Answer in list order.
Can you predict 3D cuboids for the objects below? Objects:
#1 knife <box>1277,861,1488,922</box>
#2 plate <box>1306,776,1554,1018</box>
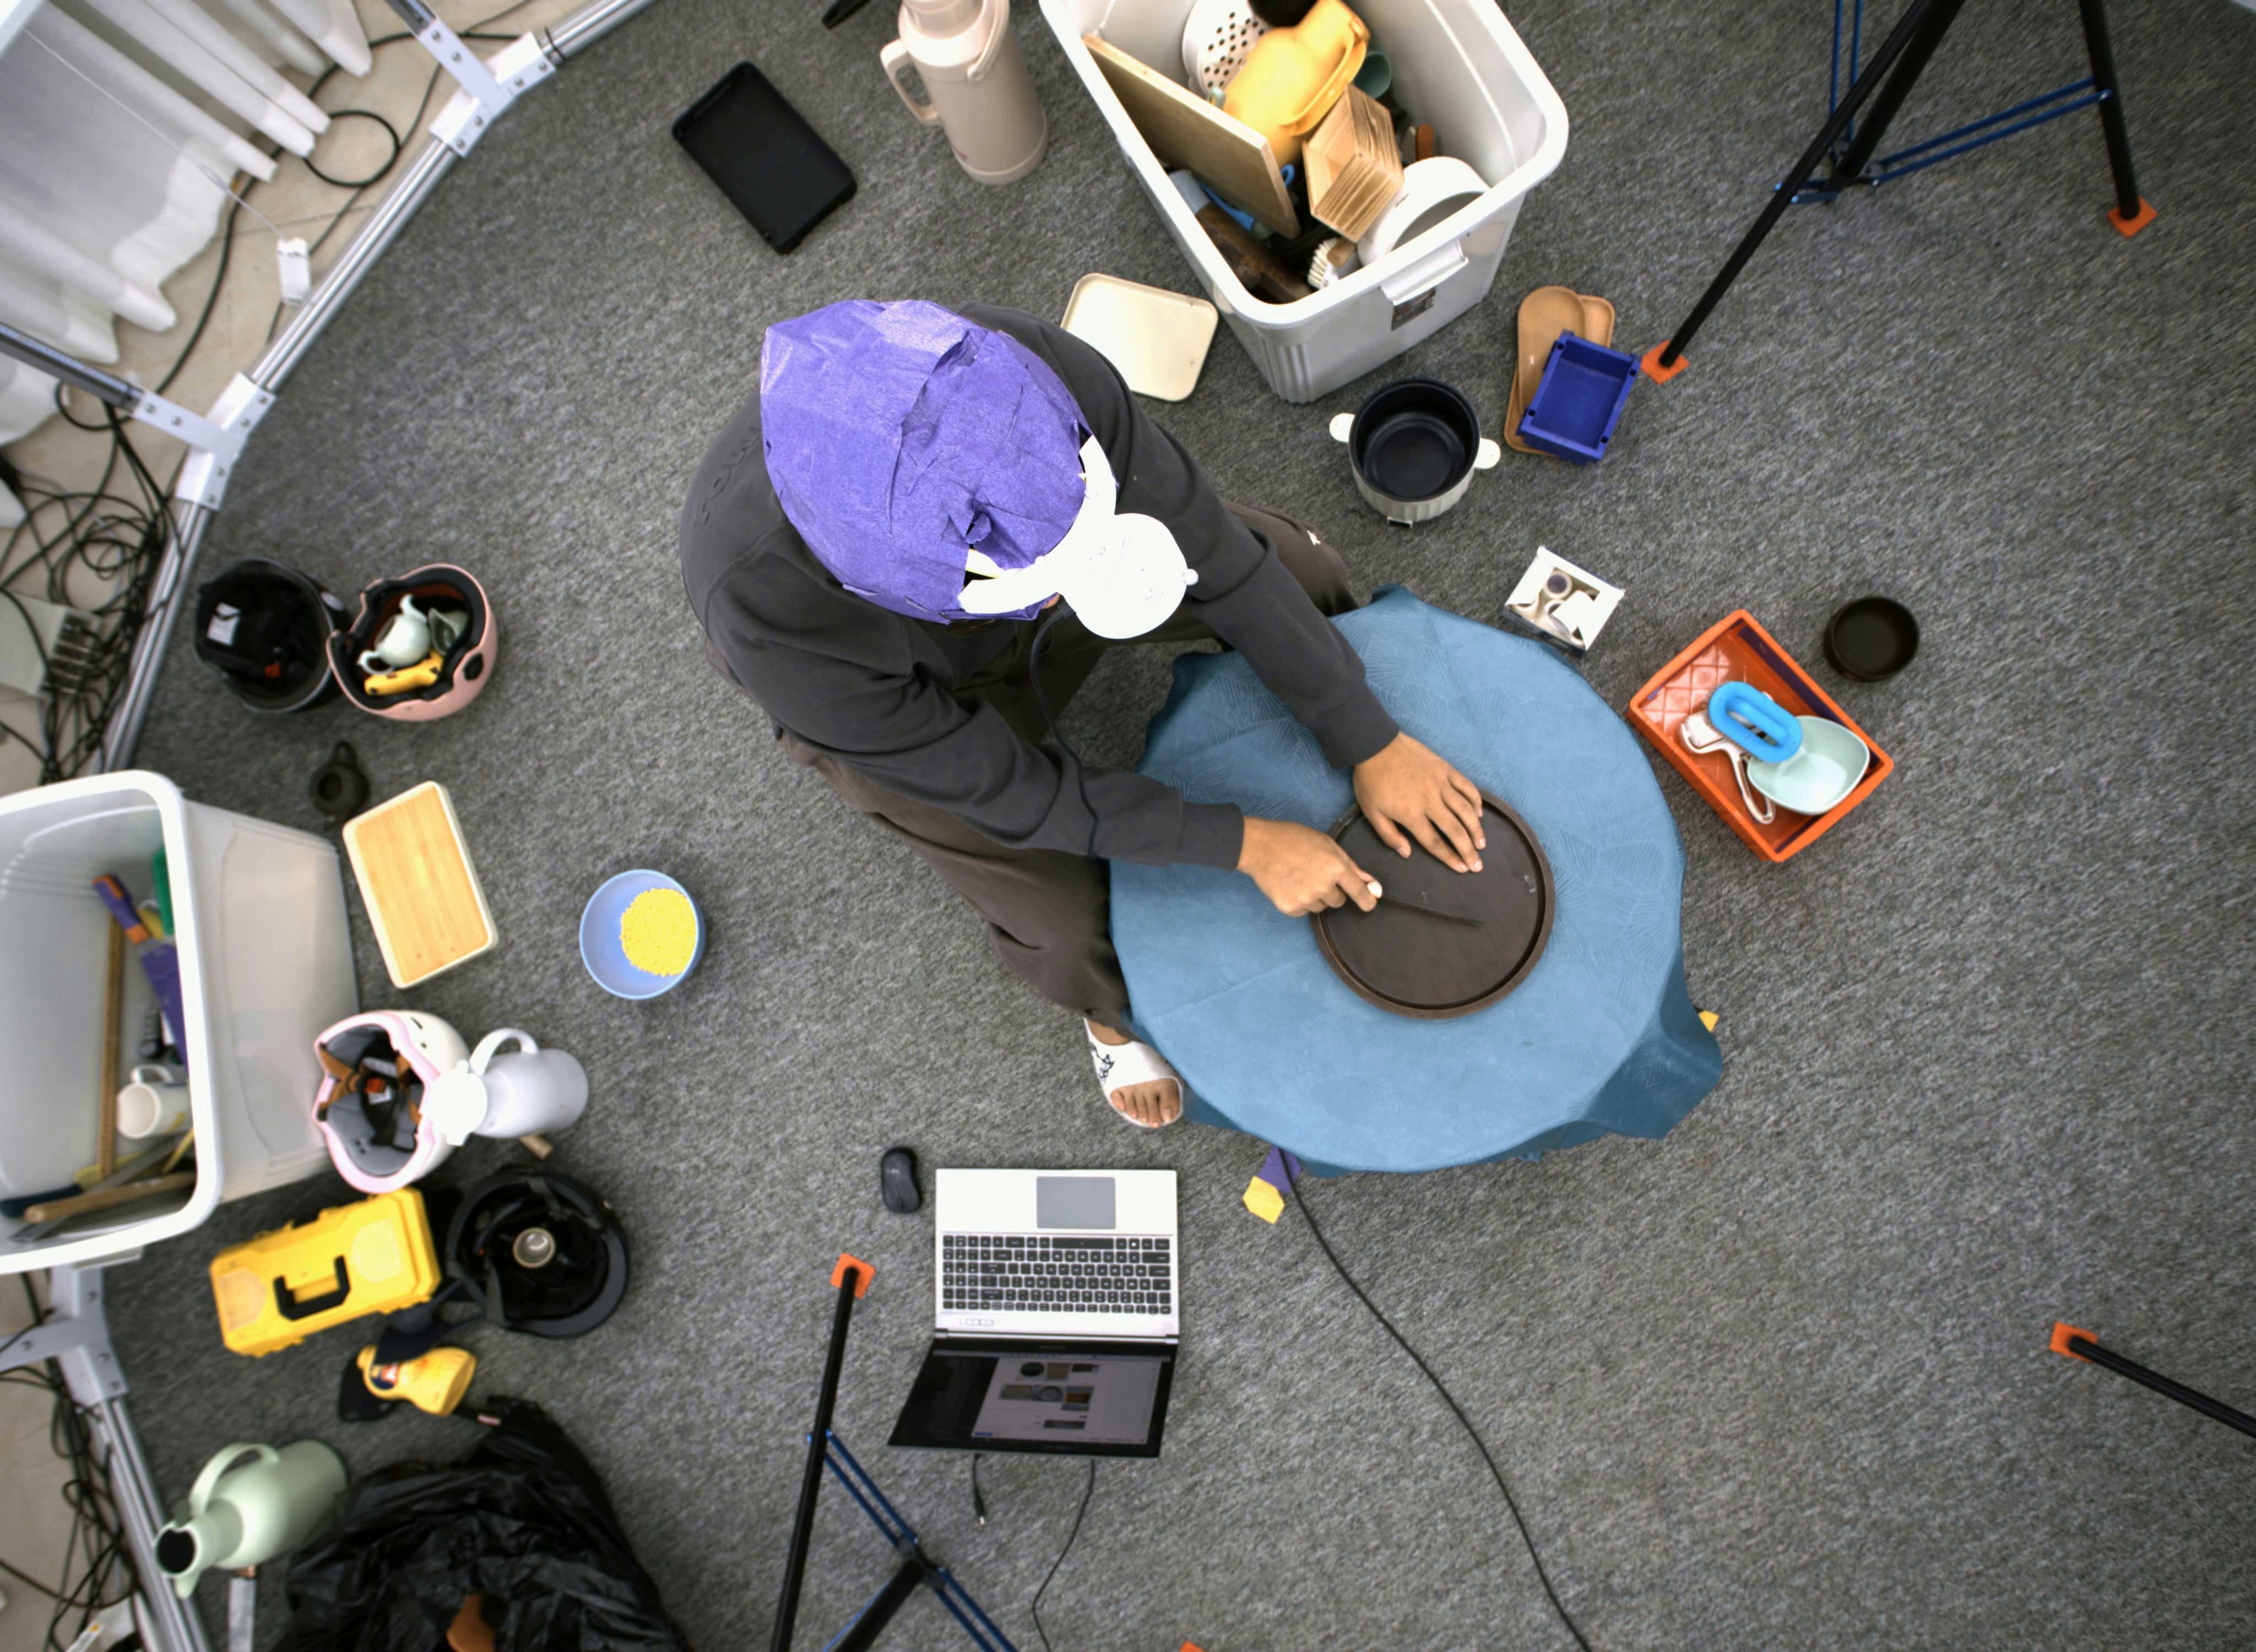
[{"bbox_3d":[0.264,0.068,1.430,0.226,0.026,0.017,14,97,6],"label":"knife"},{"bbox_3d":[0.314,0.072,1.441,0.256,0.029,0.253,-1,87,12],"label":"plate"}]
